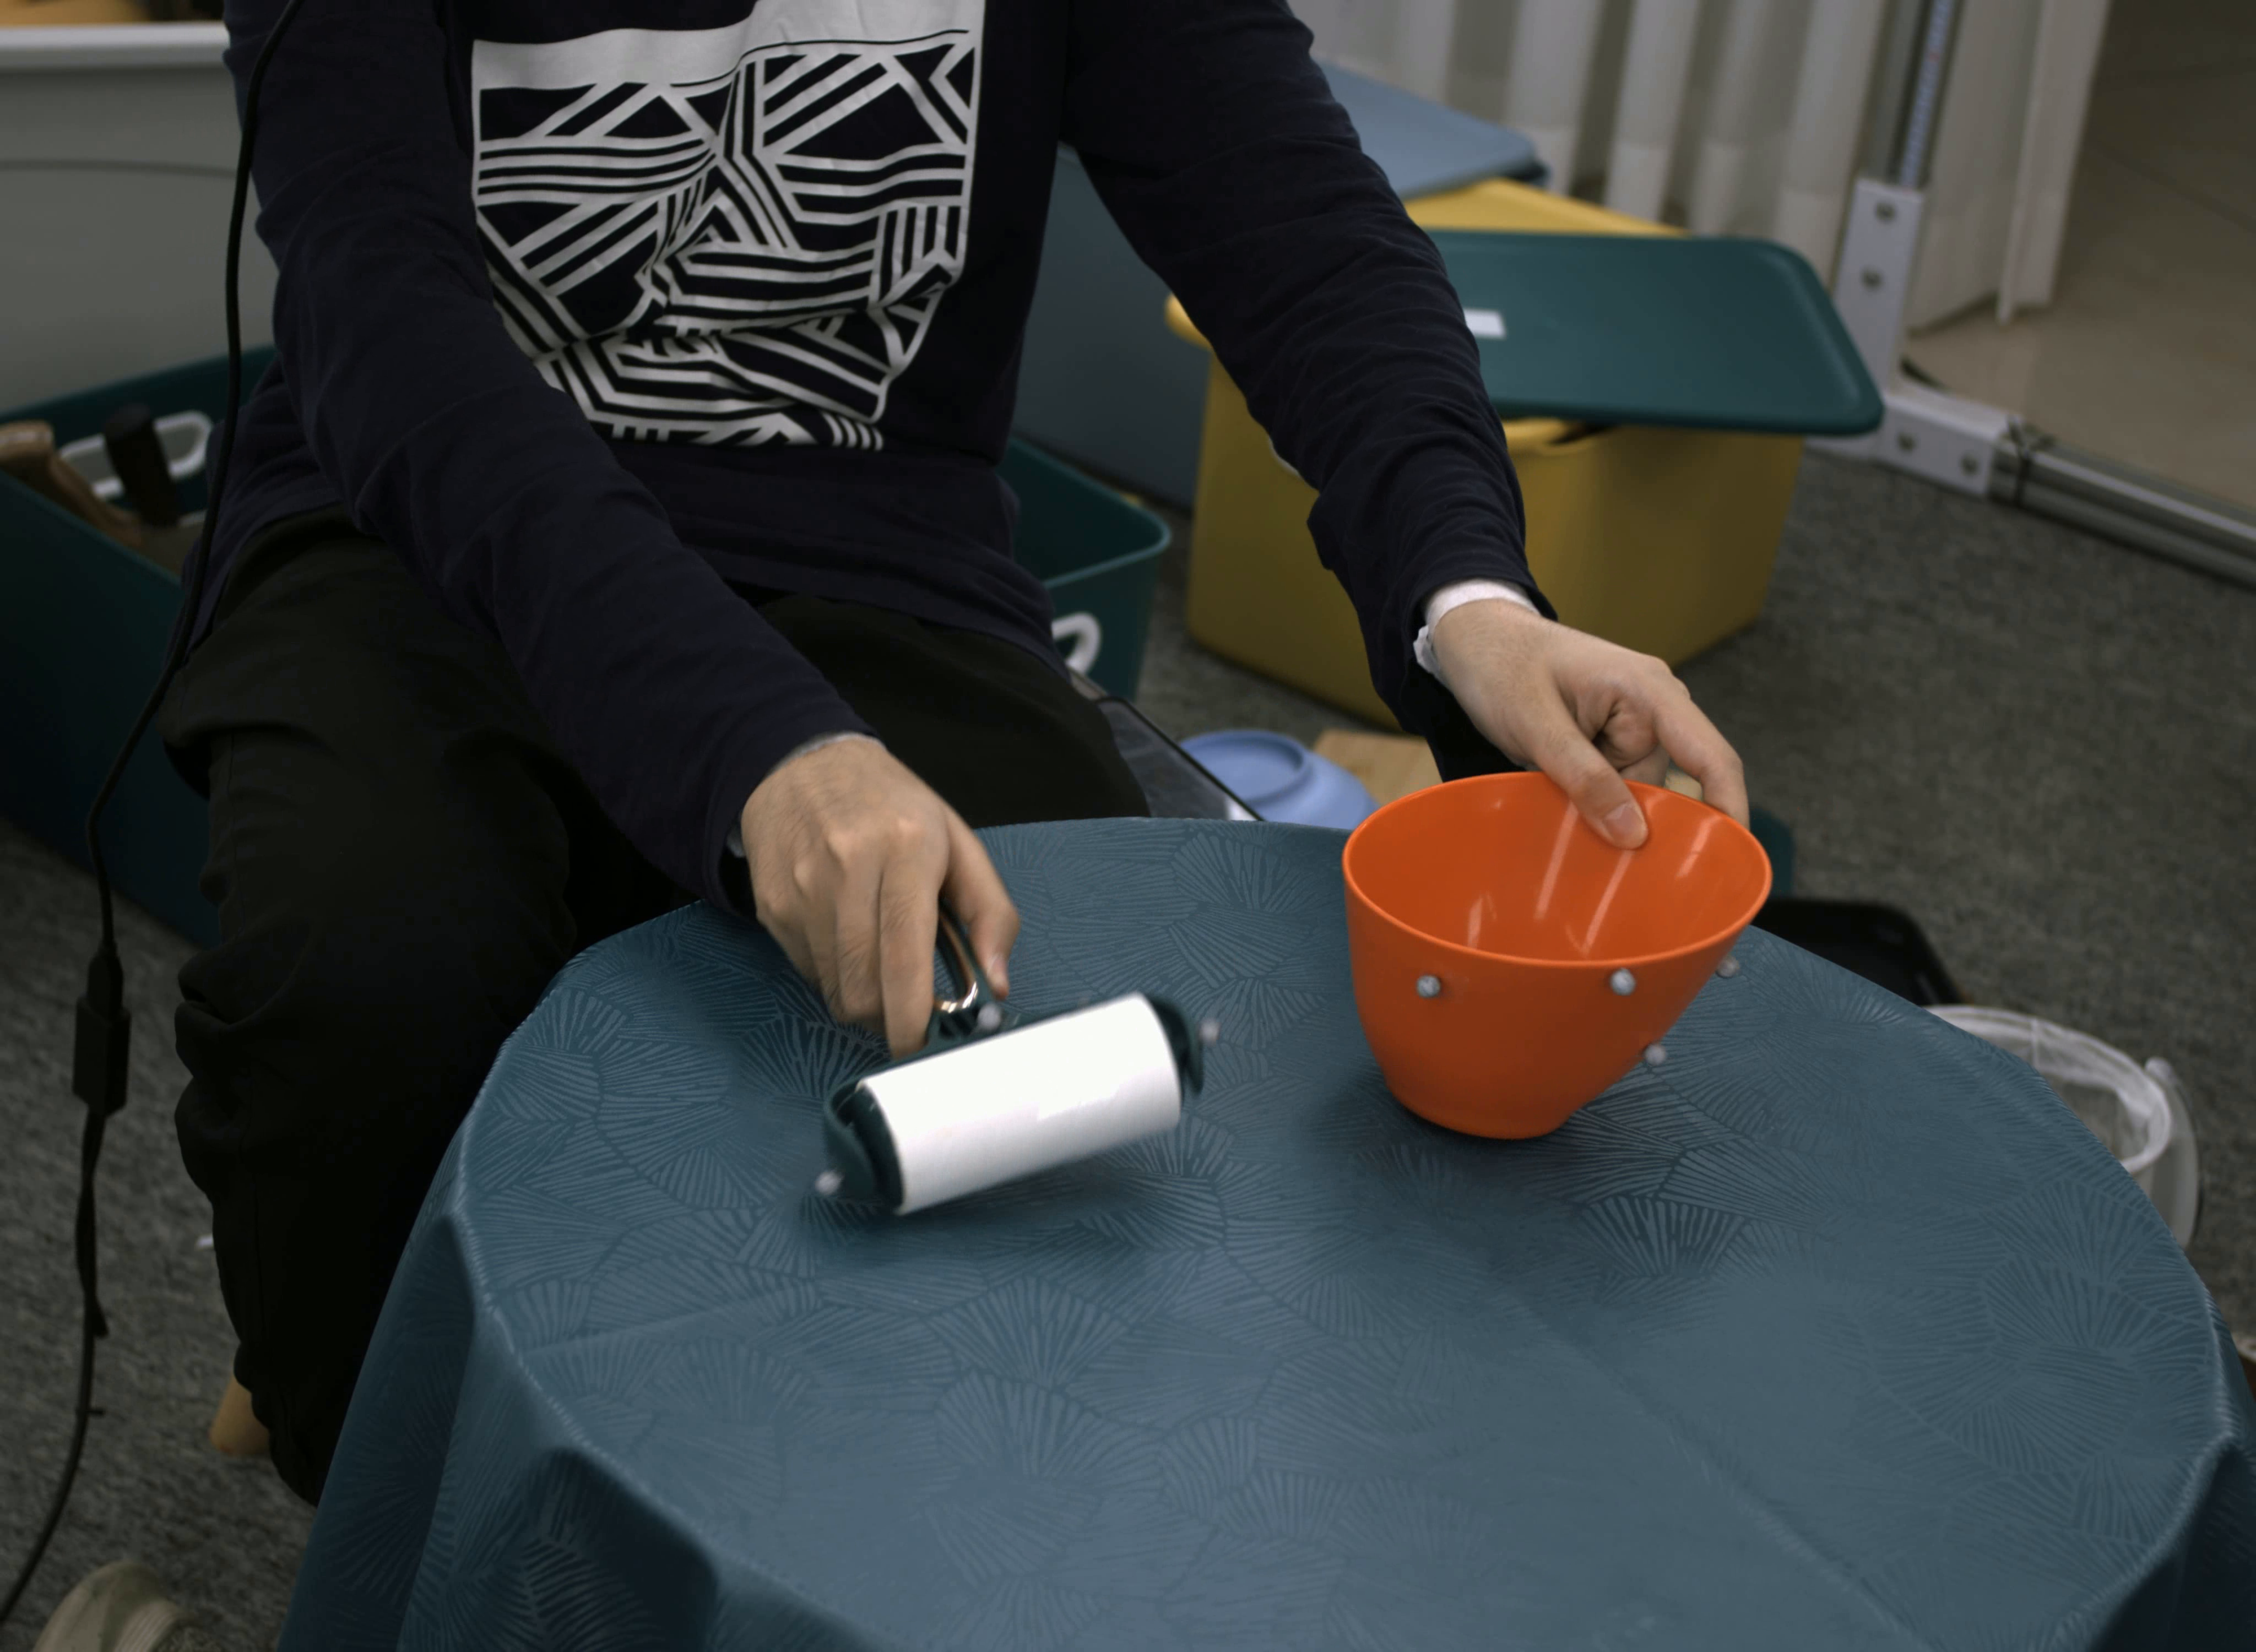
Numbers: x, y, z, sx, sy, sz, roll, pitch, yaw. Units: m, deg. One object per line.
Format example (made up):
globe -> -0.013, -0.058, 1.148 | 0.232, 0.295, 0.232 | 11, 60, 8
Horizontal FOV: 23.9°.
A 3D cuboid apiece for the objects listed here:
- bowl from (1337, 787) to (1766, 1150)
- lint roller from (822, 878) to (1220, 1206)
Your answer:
bowl -> 0.141, 0.054, 1.869 | 0.147, 0.104, 0.149 | 9, 22, -4
lint roller -> -0.062, 0.053, 1.834 | 0.134, 0.048, 0.182 | -18, 40, -15
